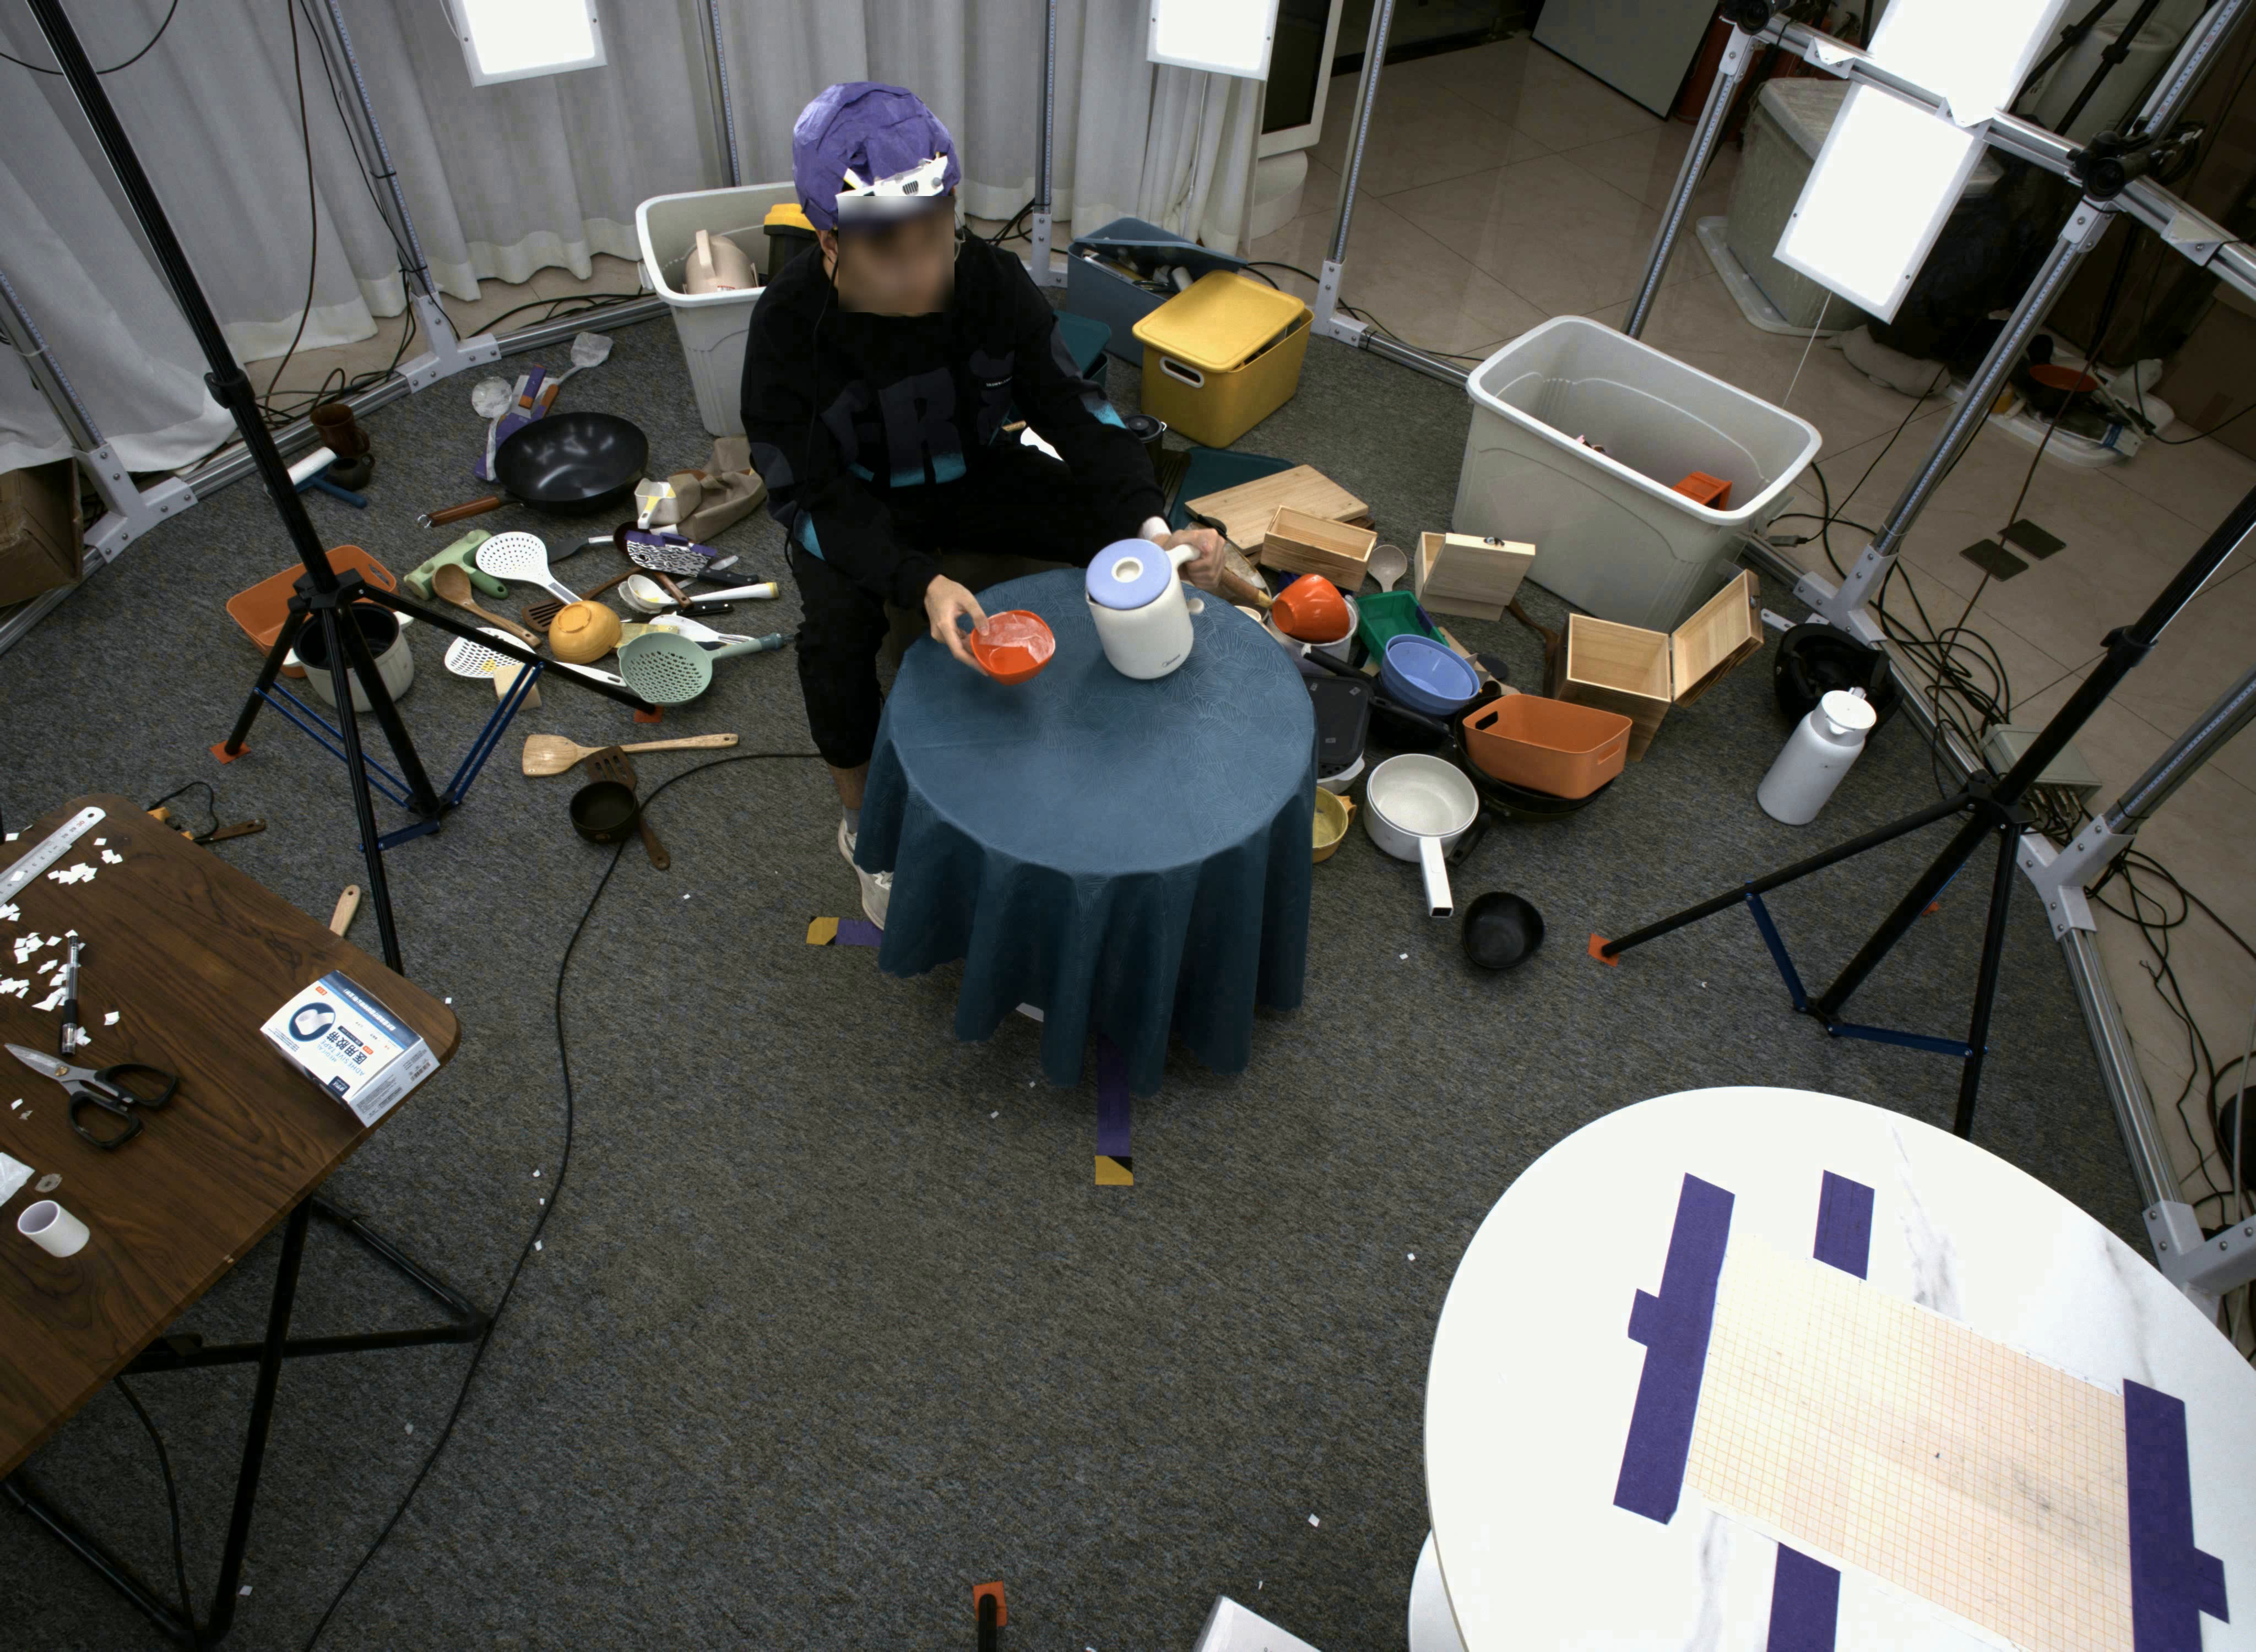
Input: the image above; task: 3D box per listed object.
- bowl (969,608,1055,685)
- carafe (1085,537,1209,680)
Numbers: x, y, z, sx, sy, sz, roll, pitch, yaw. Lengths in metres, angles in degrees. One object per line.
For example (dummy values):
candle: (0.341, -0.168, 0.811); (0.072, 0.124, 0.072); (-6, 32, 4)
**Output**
bowl: (-0.157, -0.239, 1.764); (0.119, 0.050, 0.121); (0, 58, 0)
carafe: (0.035, -0.318, 1.810); (0.192, 0.178, 0.135); (-34, 61, -11)
